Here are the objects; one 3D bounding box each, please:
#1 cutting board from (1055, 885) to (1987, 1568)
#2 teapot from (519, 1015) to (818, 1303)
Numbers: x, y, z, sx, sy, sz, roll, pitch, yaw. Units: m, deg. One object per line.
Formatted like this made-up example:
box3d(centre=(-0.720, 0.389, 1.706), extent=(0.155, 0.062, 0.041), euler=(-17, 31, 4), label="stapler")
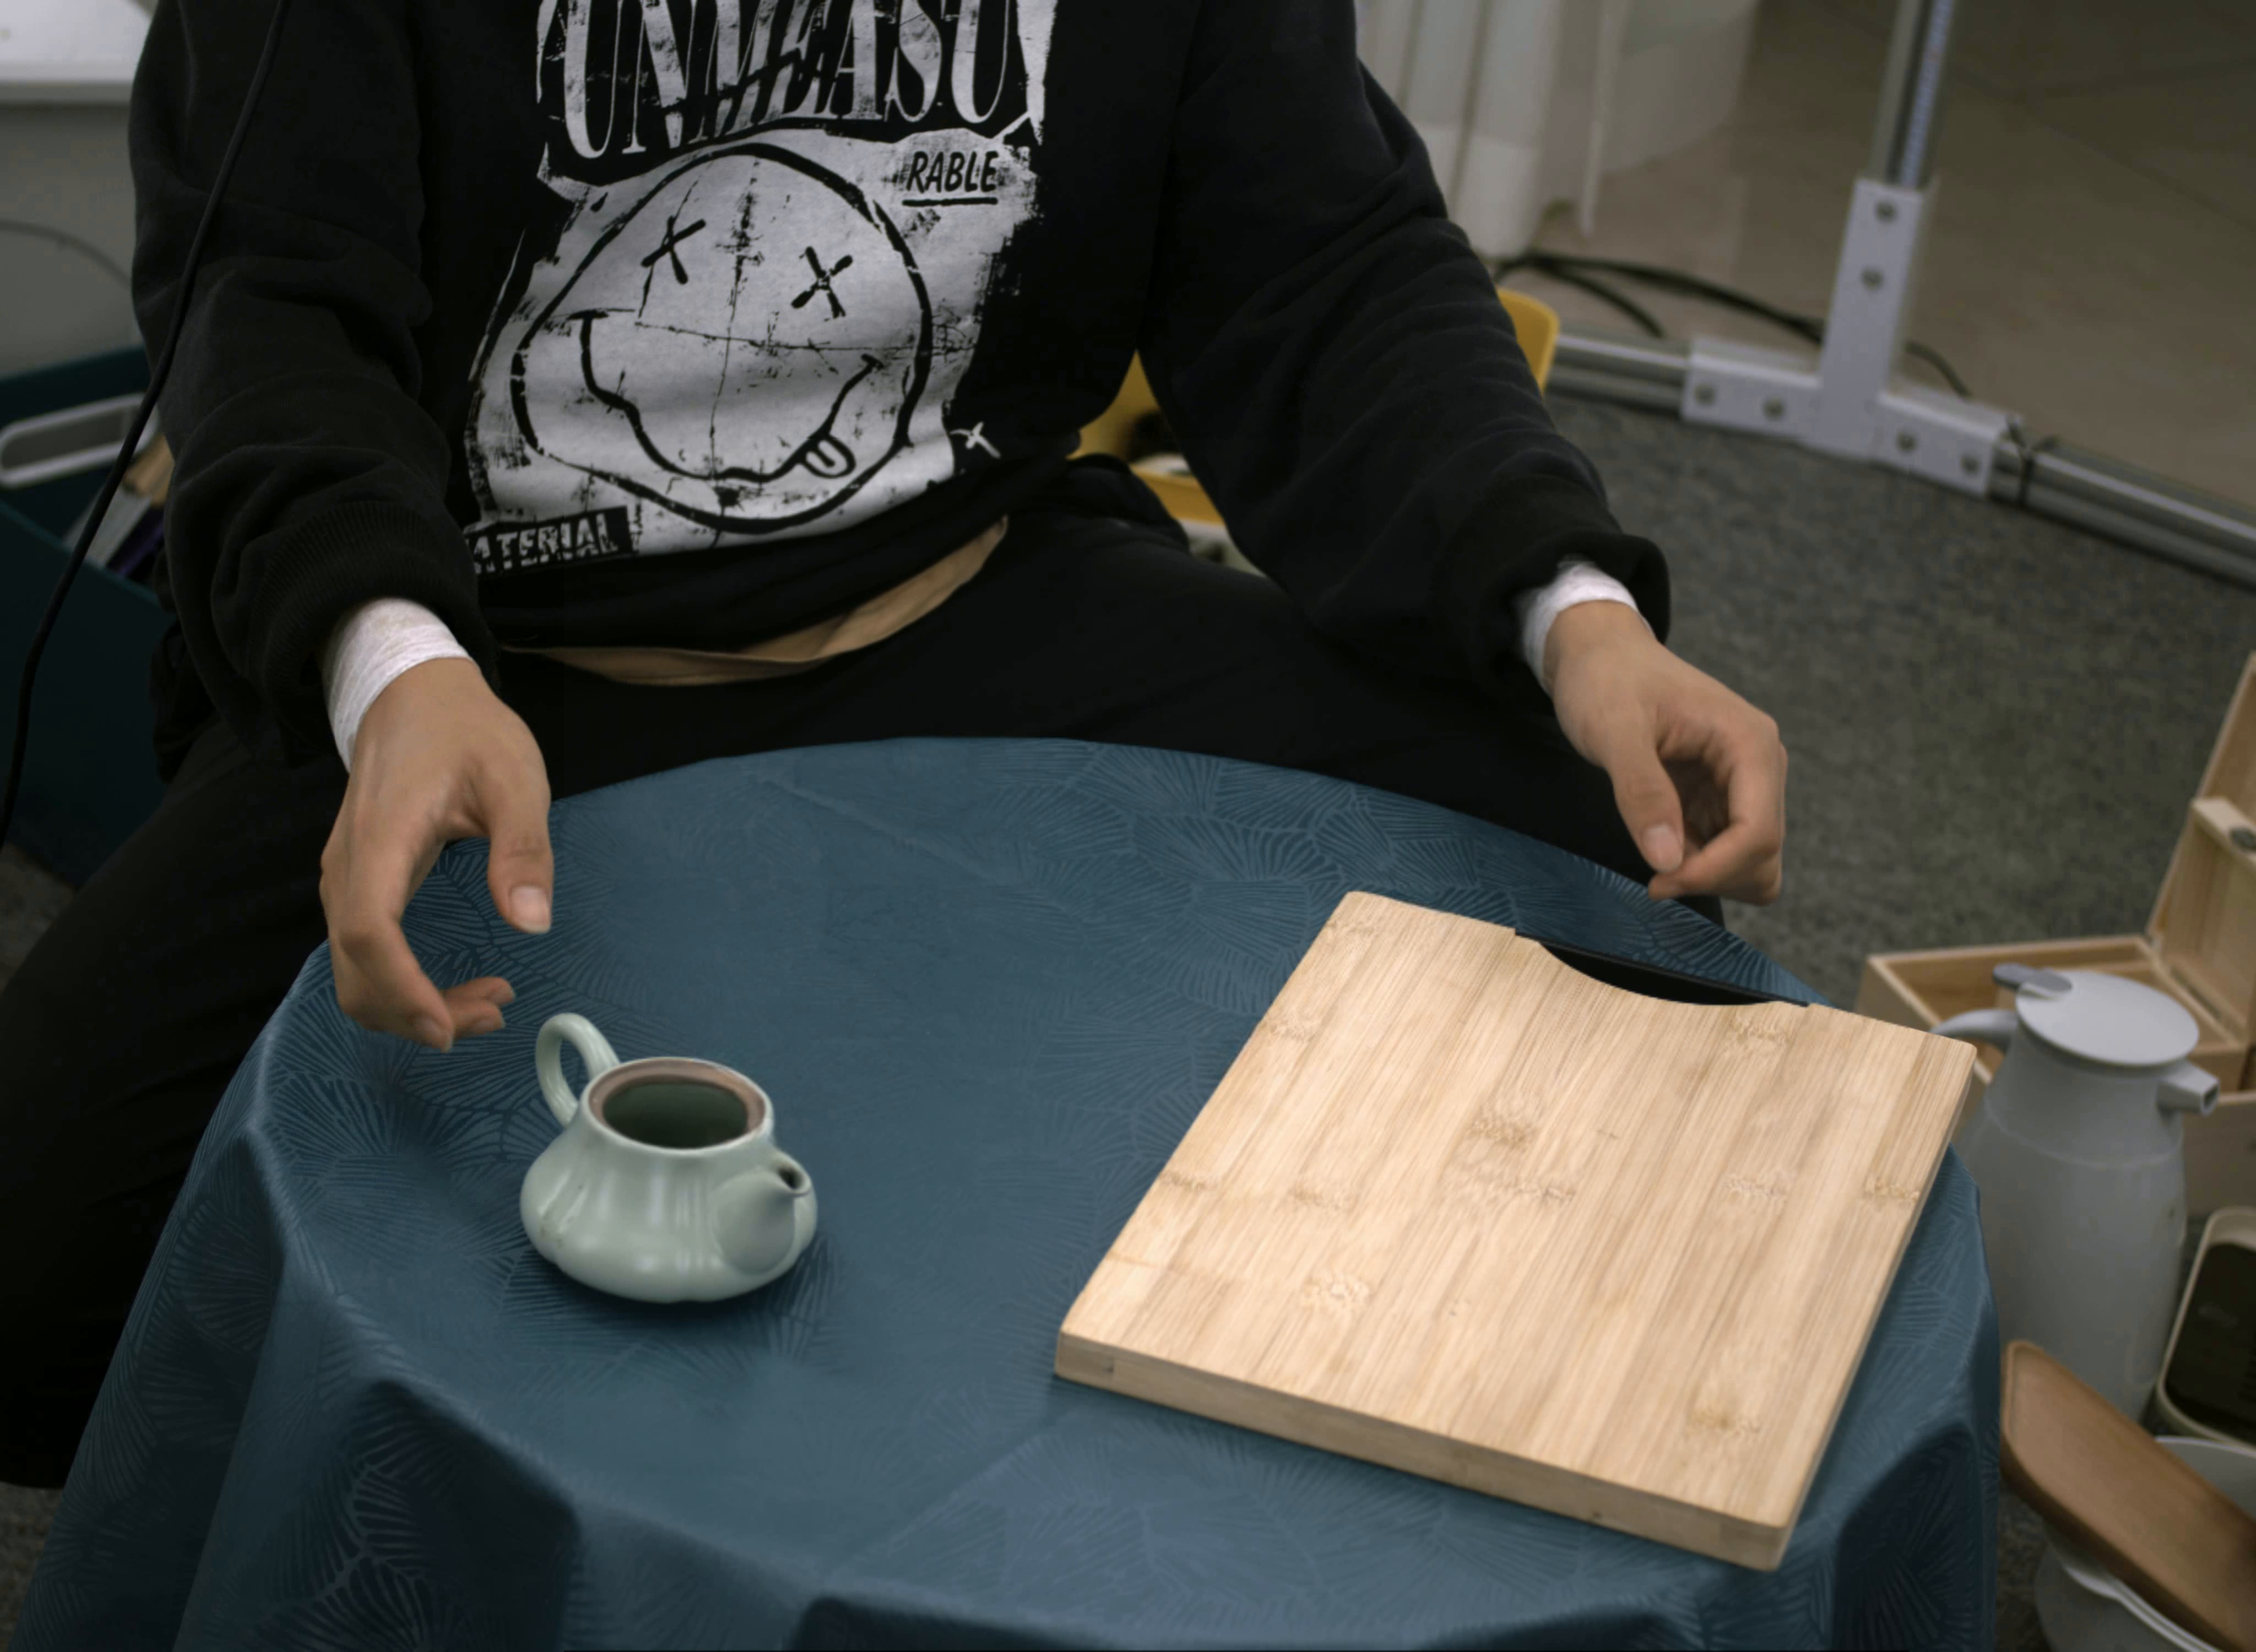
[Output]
box3d(centre=(0.143, 0.126, 1.815), extent=(0.251, 0.023, 0.349), euler=(13, 28, 13), label="cutting board")
box3d(centre=(-0.152, 0.111, 1.730), extent=(0.096, 0.061, 0.138), euler=(-21, 38, -40), label="teapot")
